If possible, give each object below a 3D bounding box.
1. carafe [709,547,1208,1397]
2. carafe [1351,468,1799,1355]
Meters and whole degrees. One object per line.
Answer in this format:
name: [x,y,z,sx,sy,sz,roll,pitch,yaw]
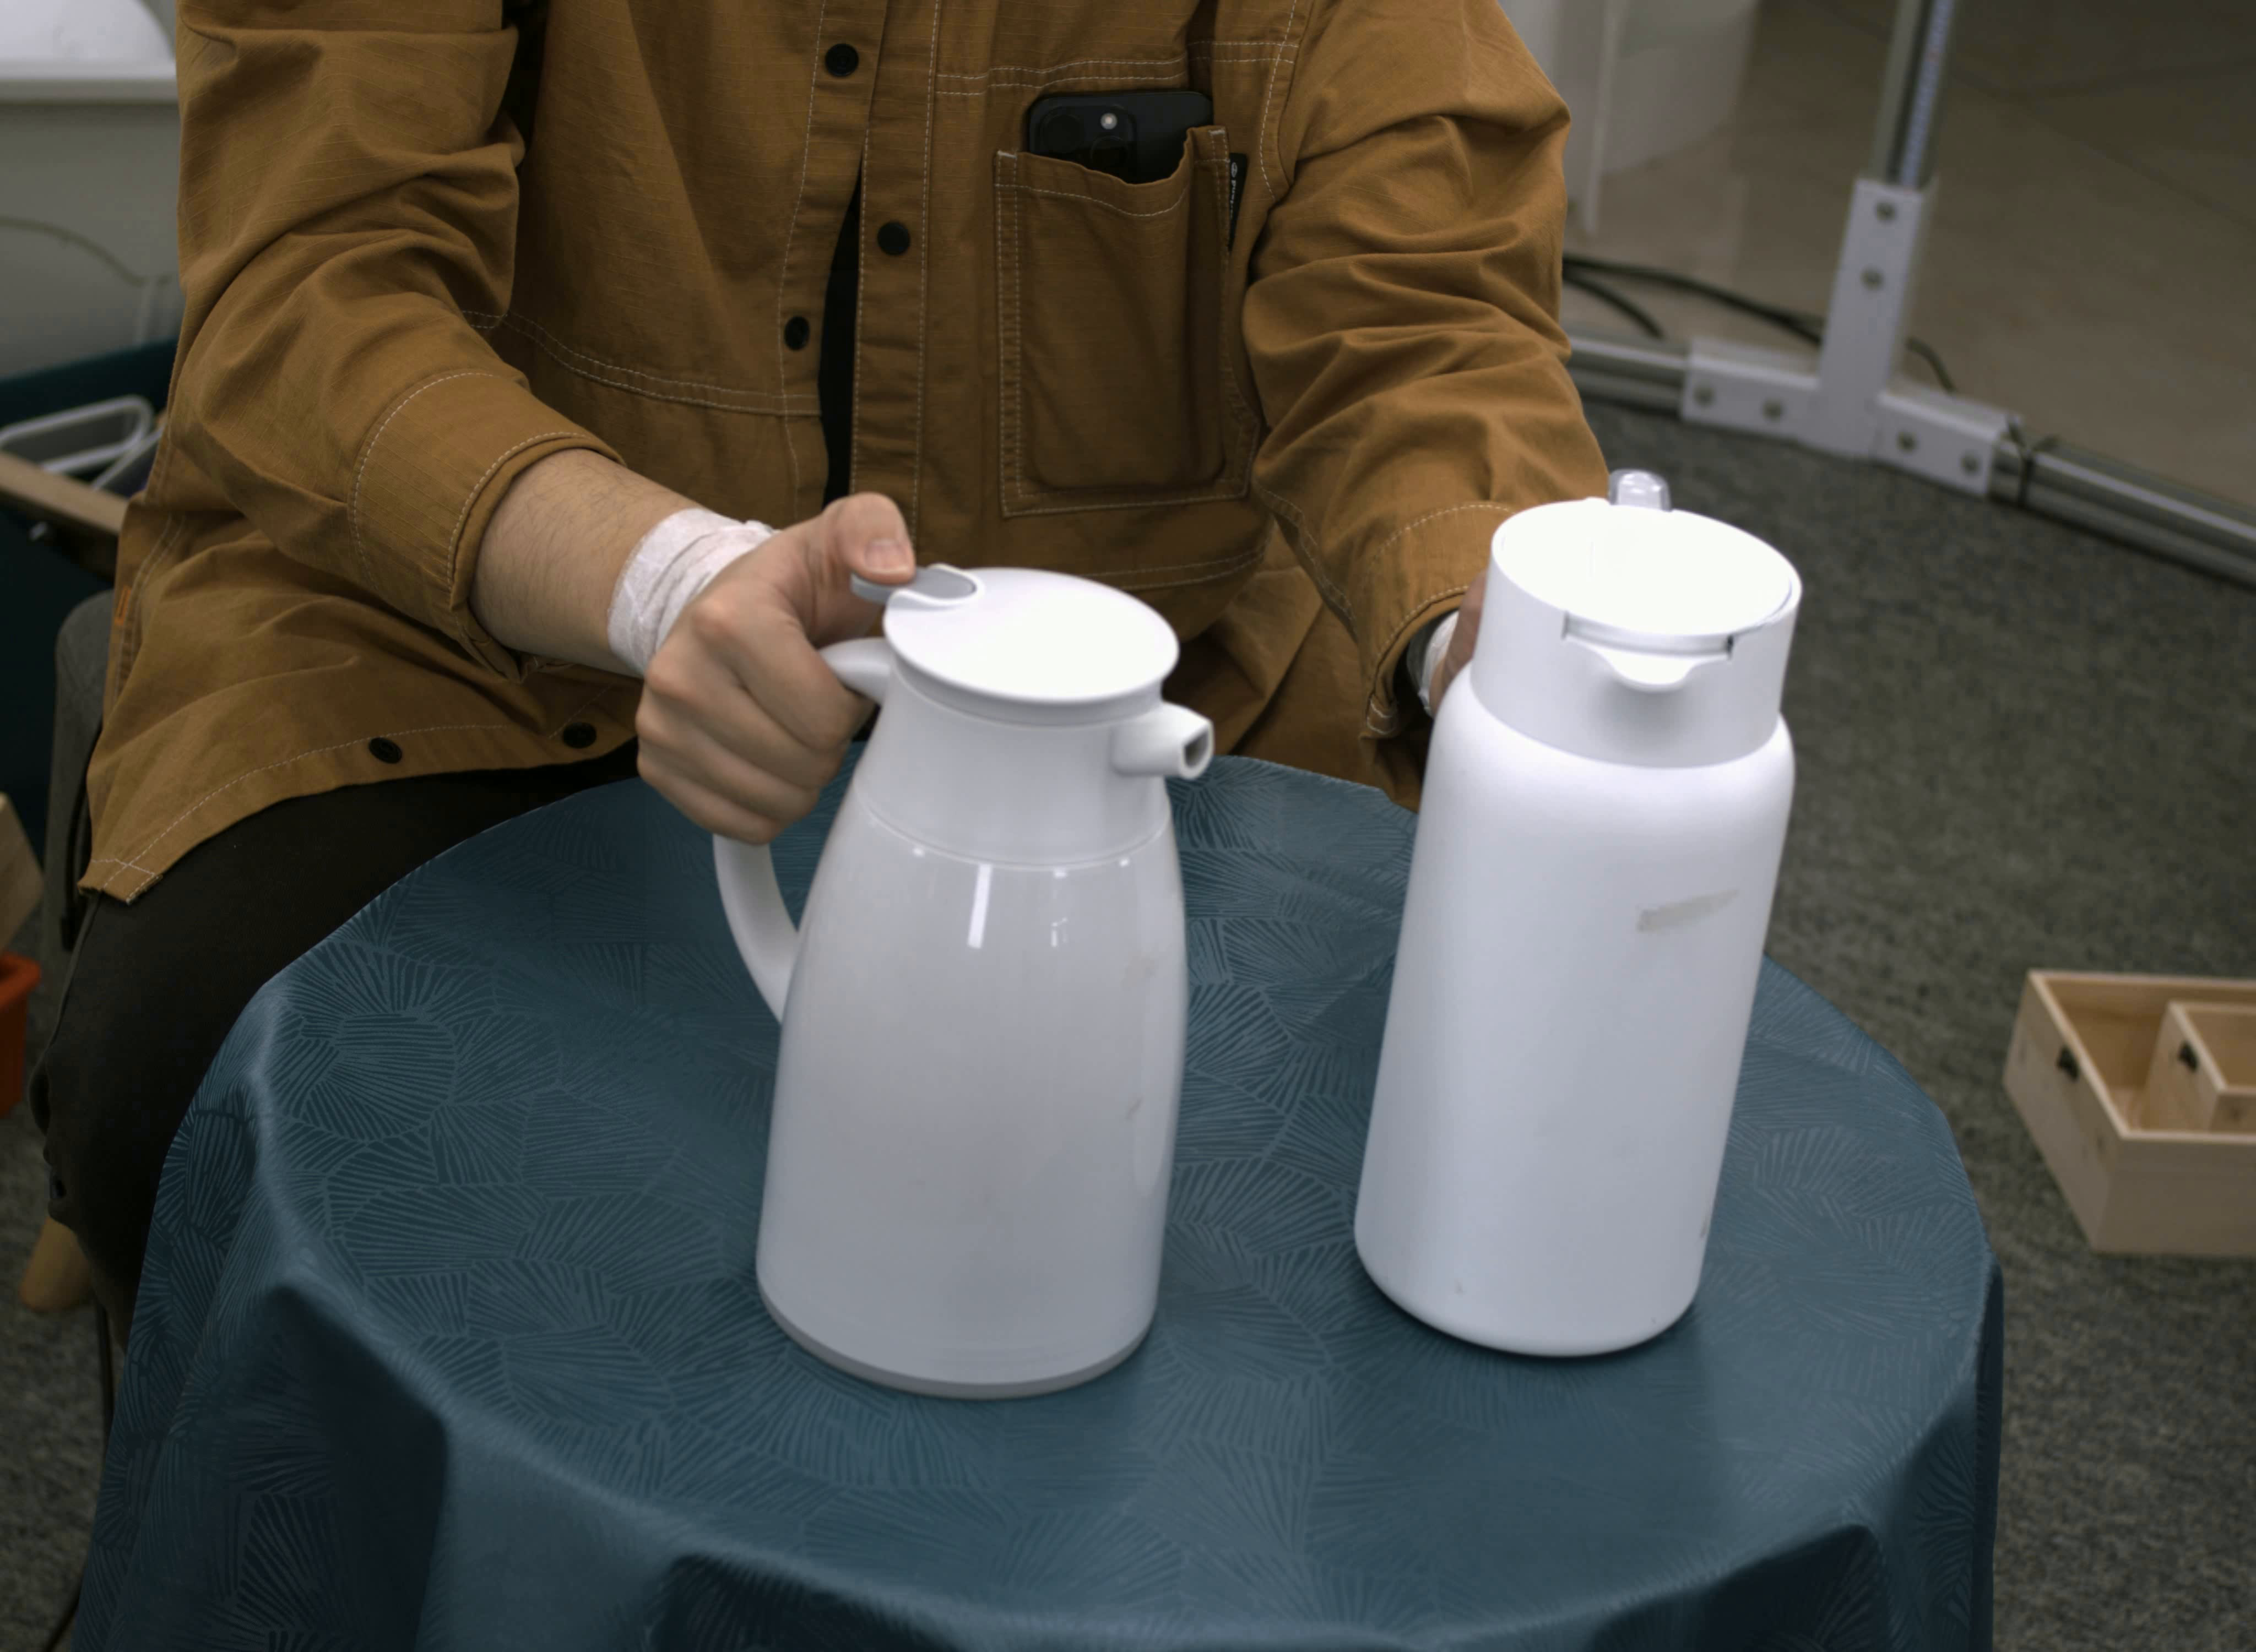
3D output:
carafe: [-0.061,0.036,1.690,0.168,0.248,0.132,19,29,24]
carafe: [0.146,0.024,1.740,0.123,0.268,0.174,5,26,0]
